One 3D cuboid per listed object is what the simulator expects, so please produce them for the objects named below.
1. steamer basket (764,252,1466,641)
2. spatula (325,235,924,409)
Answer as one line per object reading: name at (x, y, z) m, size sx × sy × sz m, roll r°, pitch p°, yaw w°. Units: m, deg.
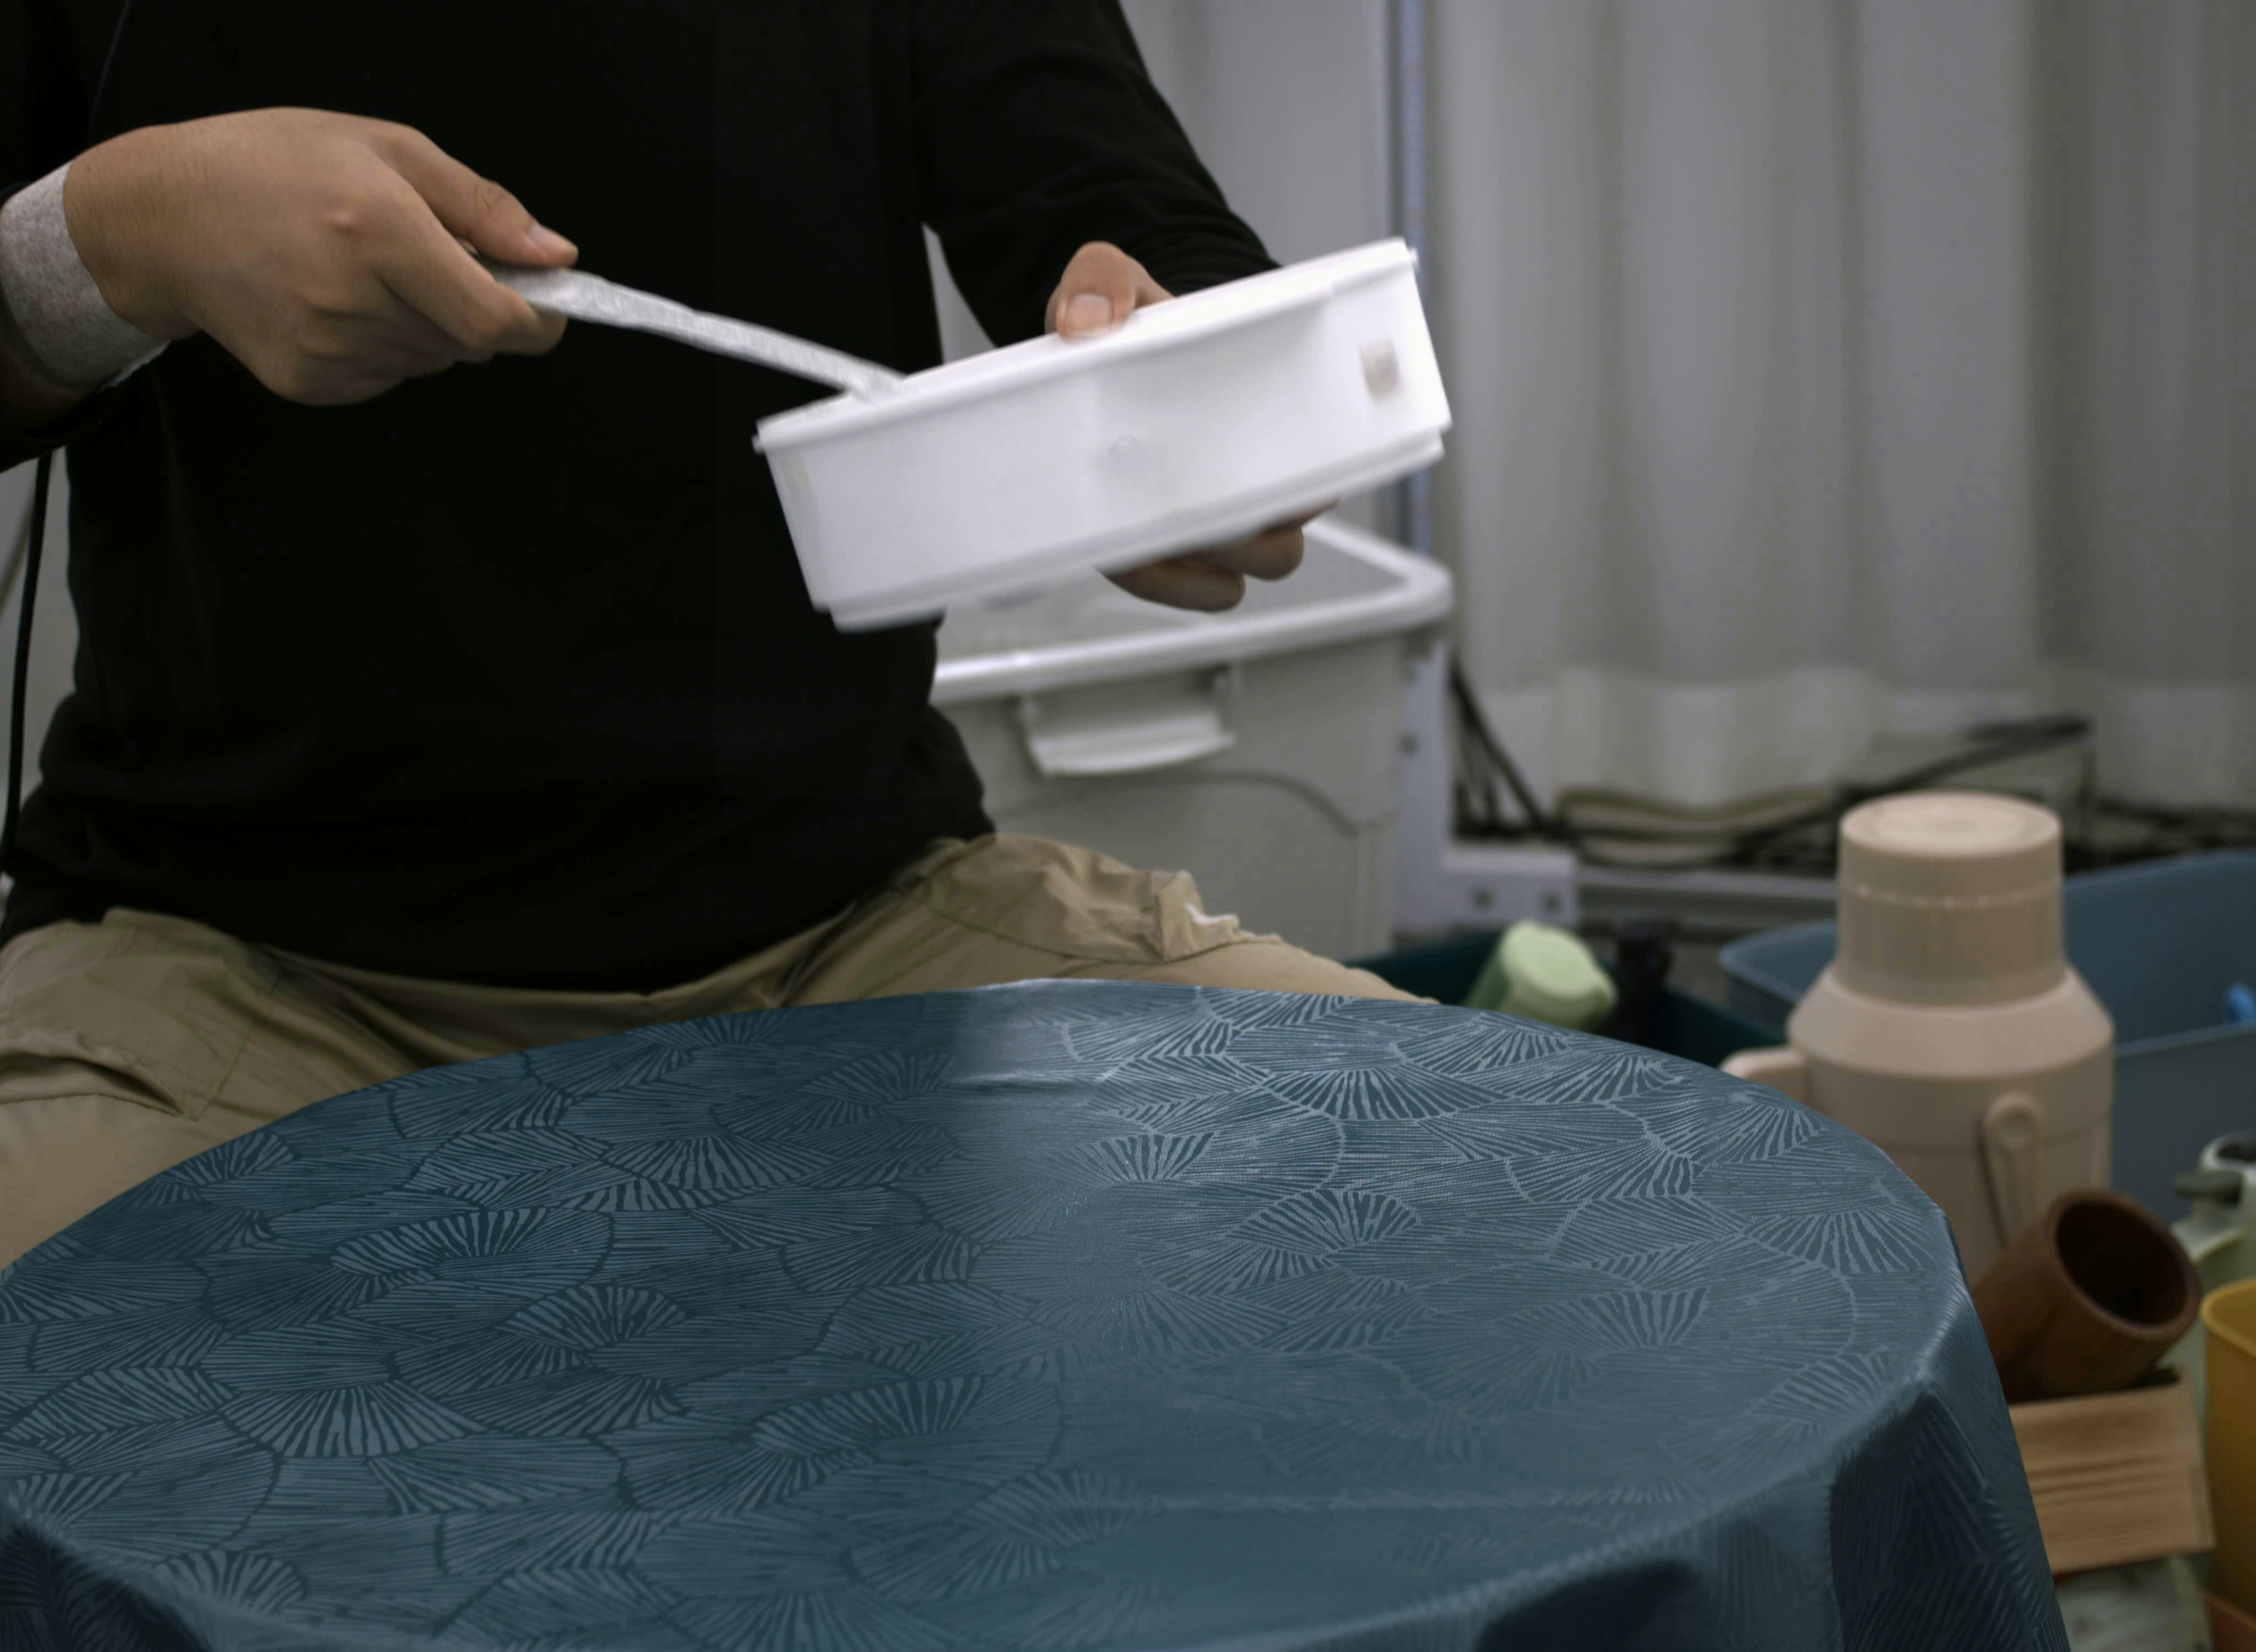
steamer basket at (-0.001, -0.108, 1.584) m, size 0.201 × 0.069 × 0.231 m, roll -18°, pitch 7°, yaw -22°
spatula at (-0.109, -0.145, 1.640) m, size 0.367 × 0.044 × 0.099 m, roll 18°, pitch 42°, yaw 28°
